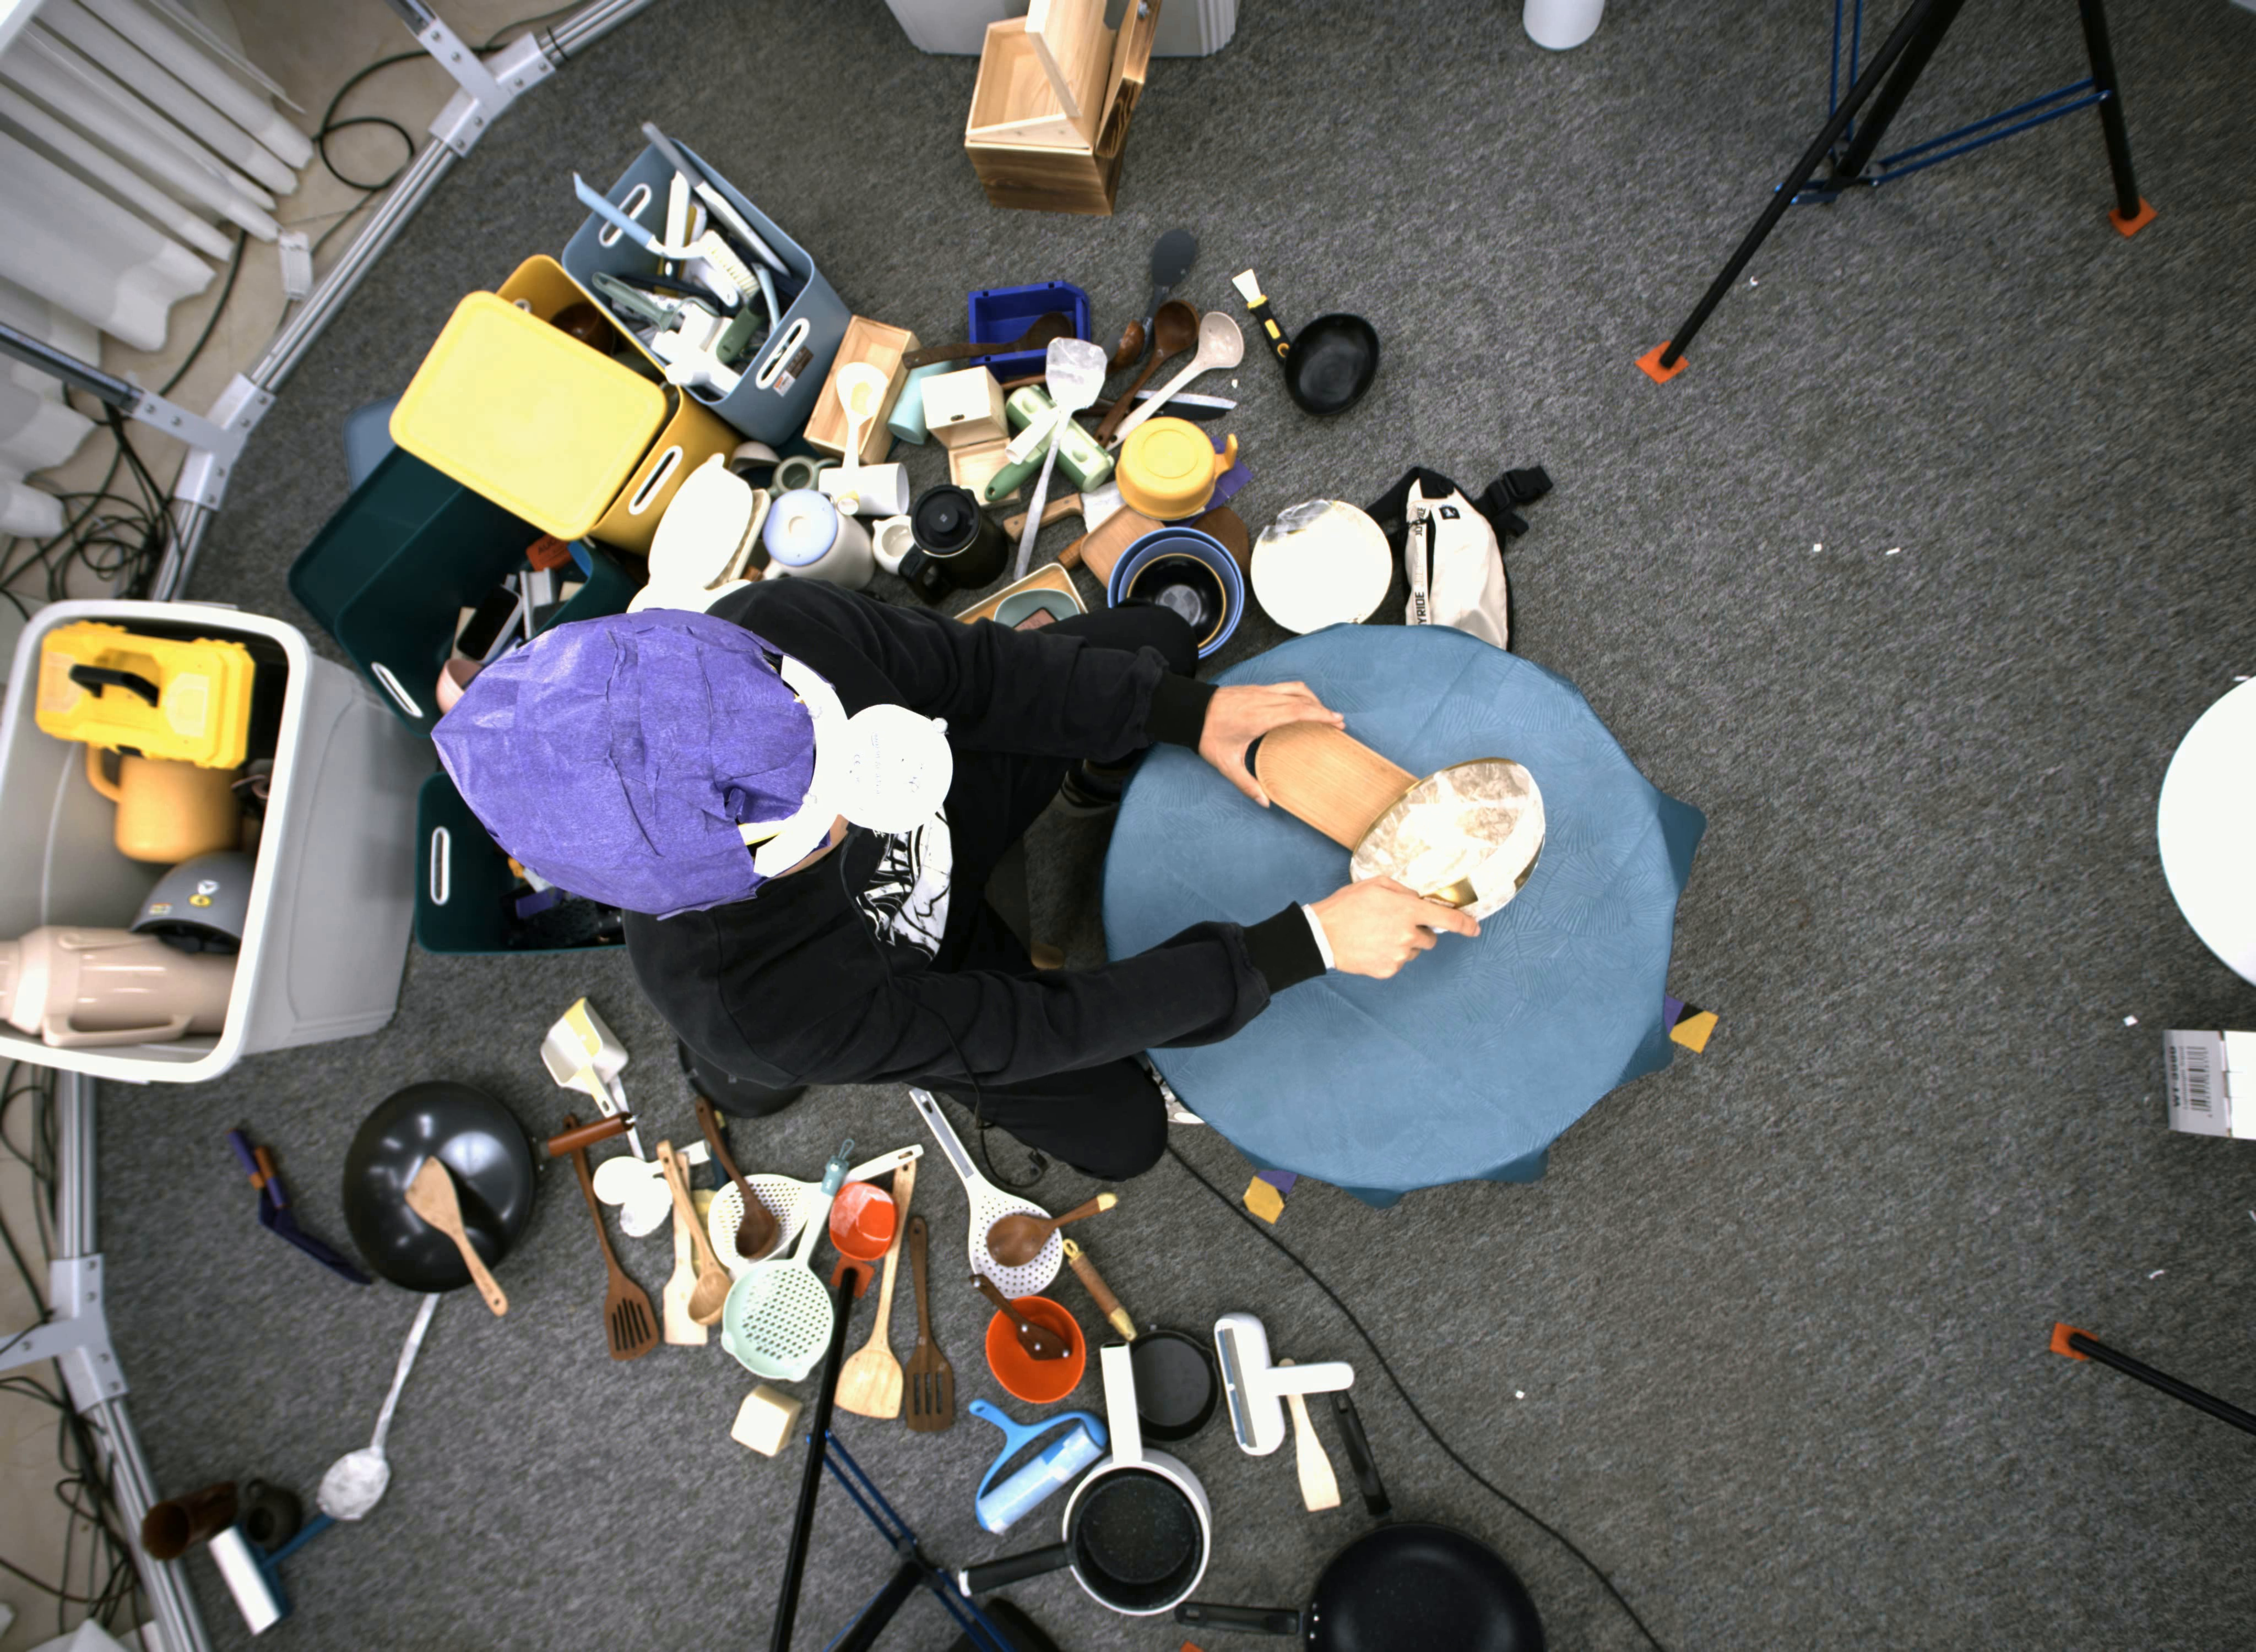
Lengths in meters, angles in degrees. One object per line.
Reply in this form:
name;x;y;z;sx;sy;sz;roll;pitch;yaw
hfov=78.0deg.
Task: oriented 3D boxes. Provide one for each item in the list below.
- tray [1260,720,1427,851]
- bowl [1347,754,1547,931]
tray;0.245;-0.028;1.449;0.231;0.020;0.102;30;96;-2
bowl;0.326;0.031;1.356;0.215;0.211;0.095;-40;114;4
